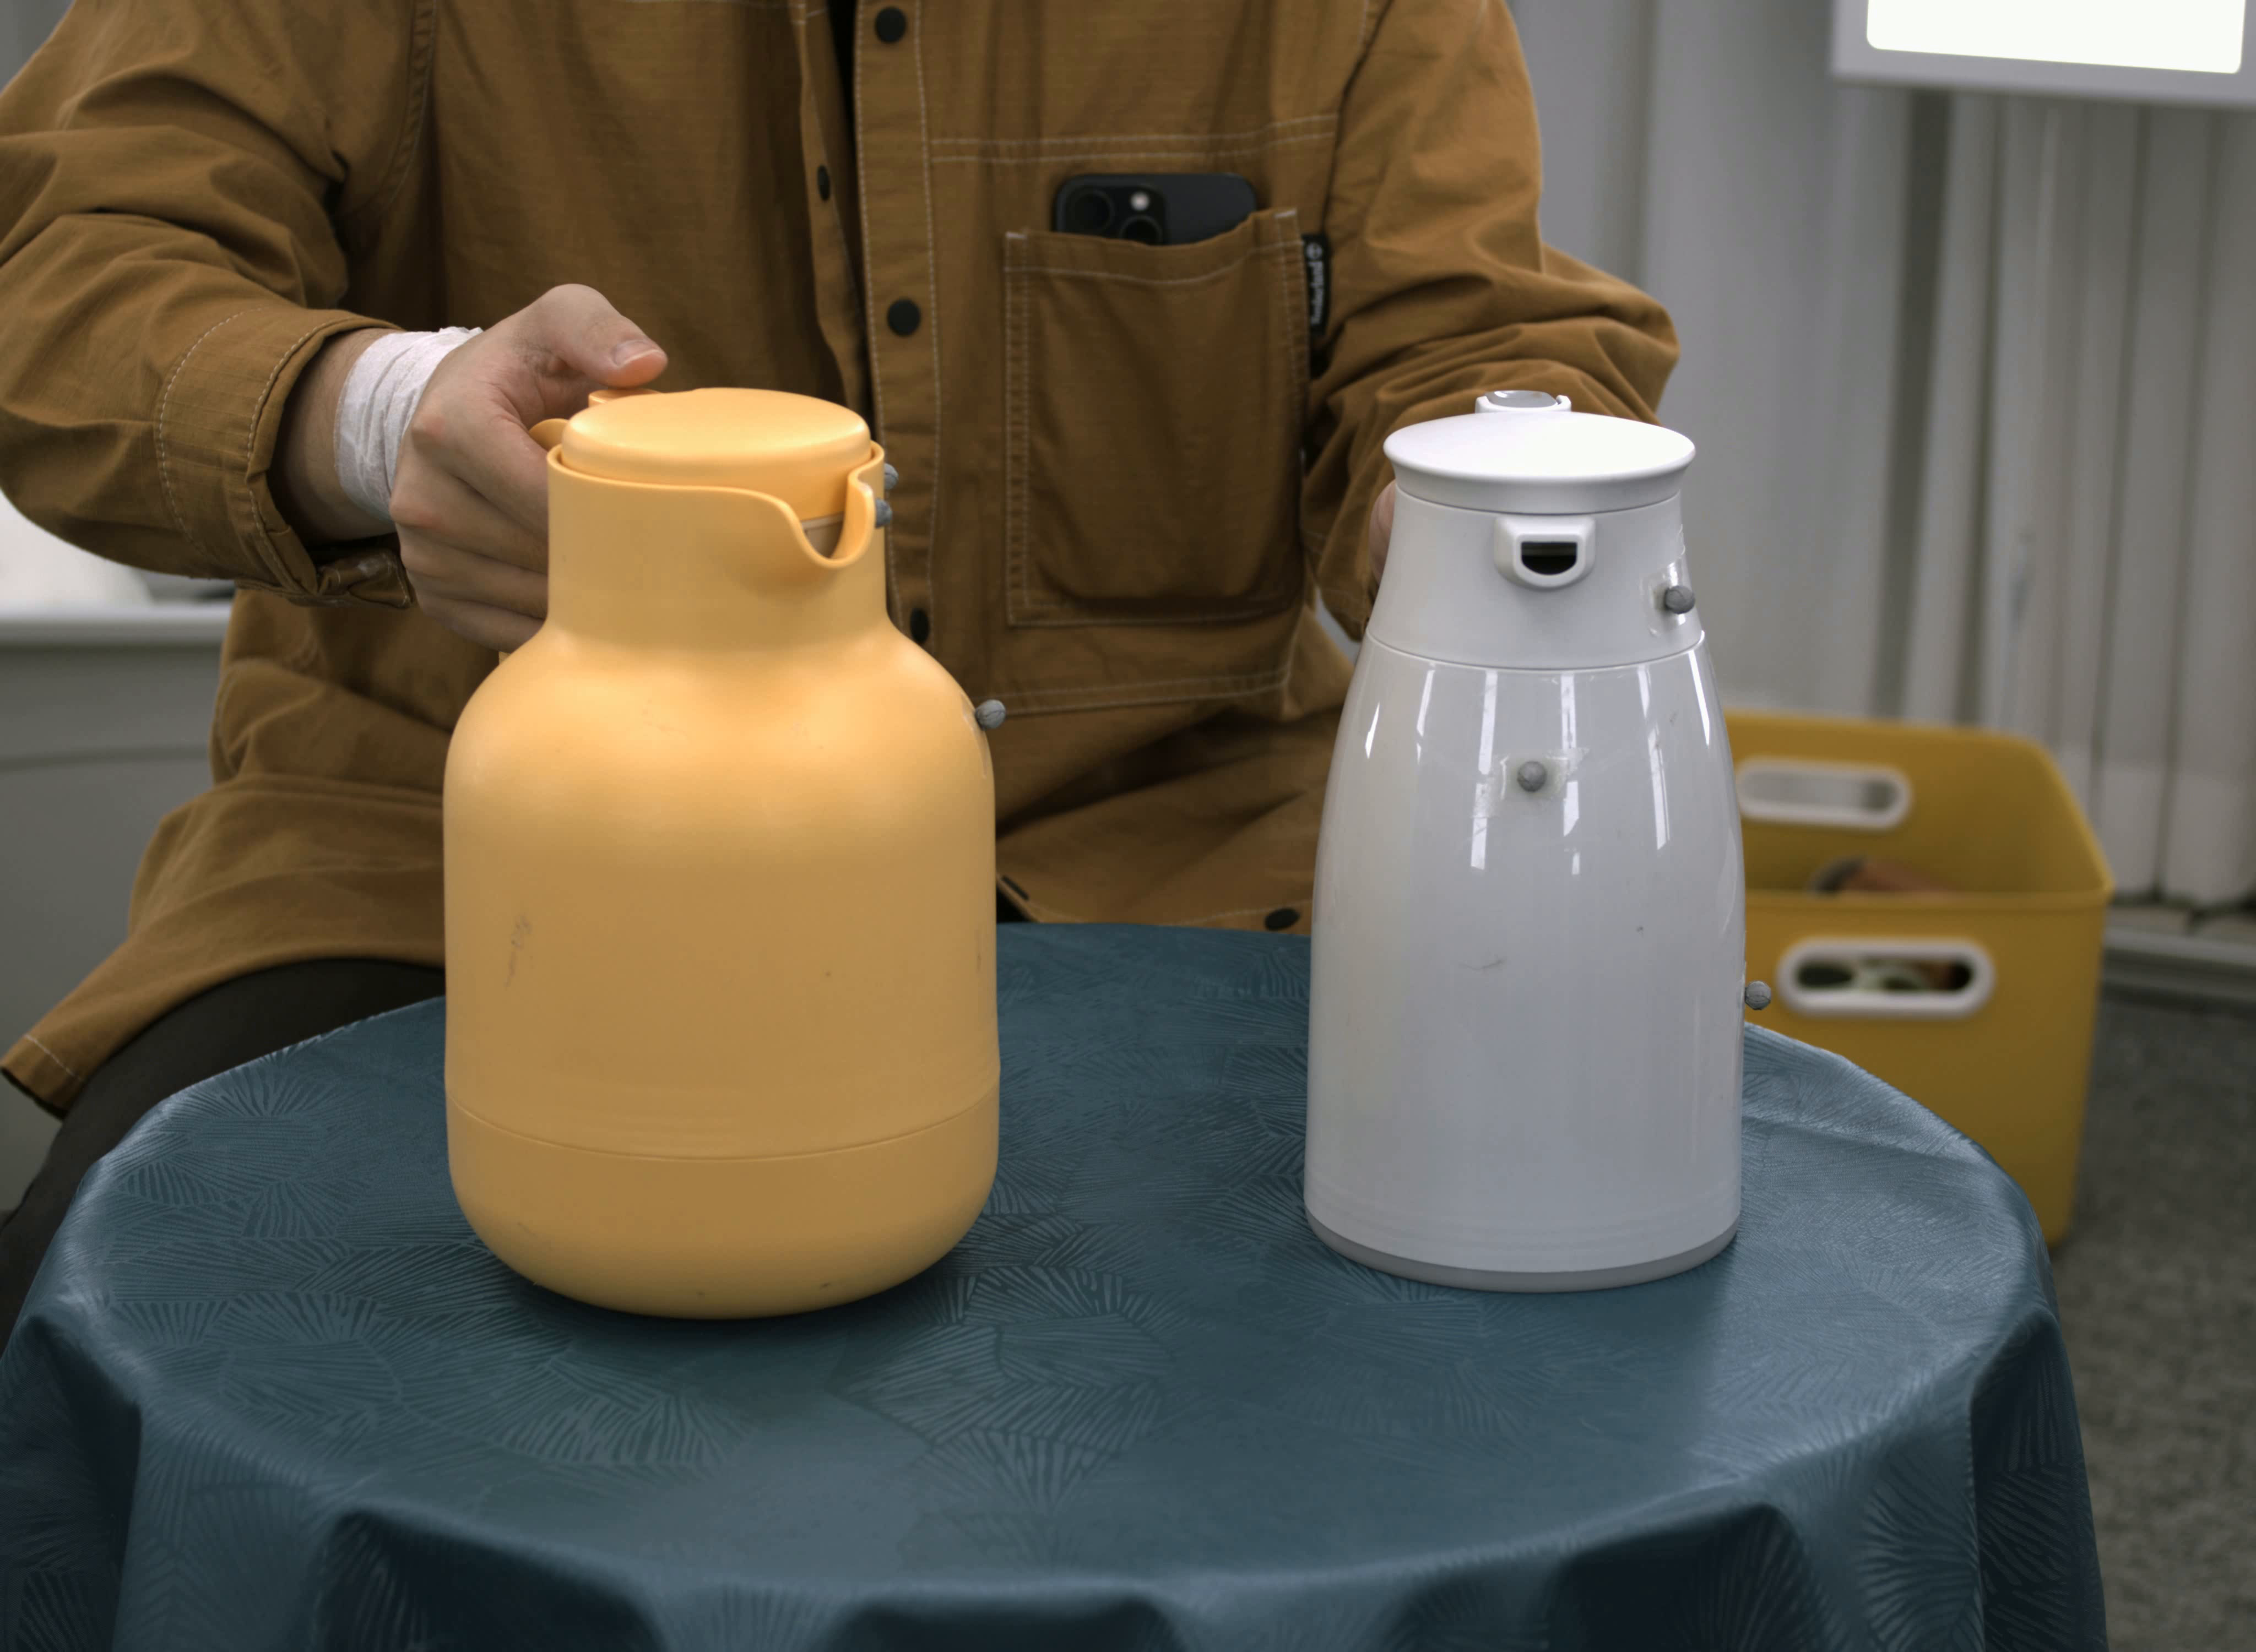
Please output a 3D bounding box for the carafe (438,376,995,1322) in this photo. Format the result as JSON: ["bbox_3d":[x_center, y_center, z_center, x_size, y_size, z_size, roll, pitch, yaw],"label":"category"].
[{"bbox_3d":[-0.127,-0.002,1.542,0.164,0.262,0.200,-7,18,-30],"label":"carafe"}]

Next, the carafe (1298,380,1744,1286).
[{"bbox_3d":[0.118,-0.006,1.585,0.132,0.250,0.167,0,16,0],"label":"carafe"}]
